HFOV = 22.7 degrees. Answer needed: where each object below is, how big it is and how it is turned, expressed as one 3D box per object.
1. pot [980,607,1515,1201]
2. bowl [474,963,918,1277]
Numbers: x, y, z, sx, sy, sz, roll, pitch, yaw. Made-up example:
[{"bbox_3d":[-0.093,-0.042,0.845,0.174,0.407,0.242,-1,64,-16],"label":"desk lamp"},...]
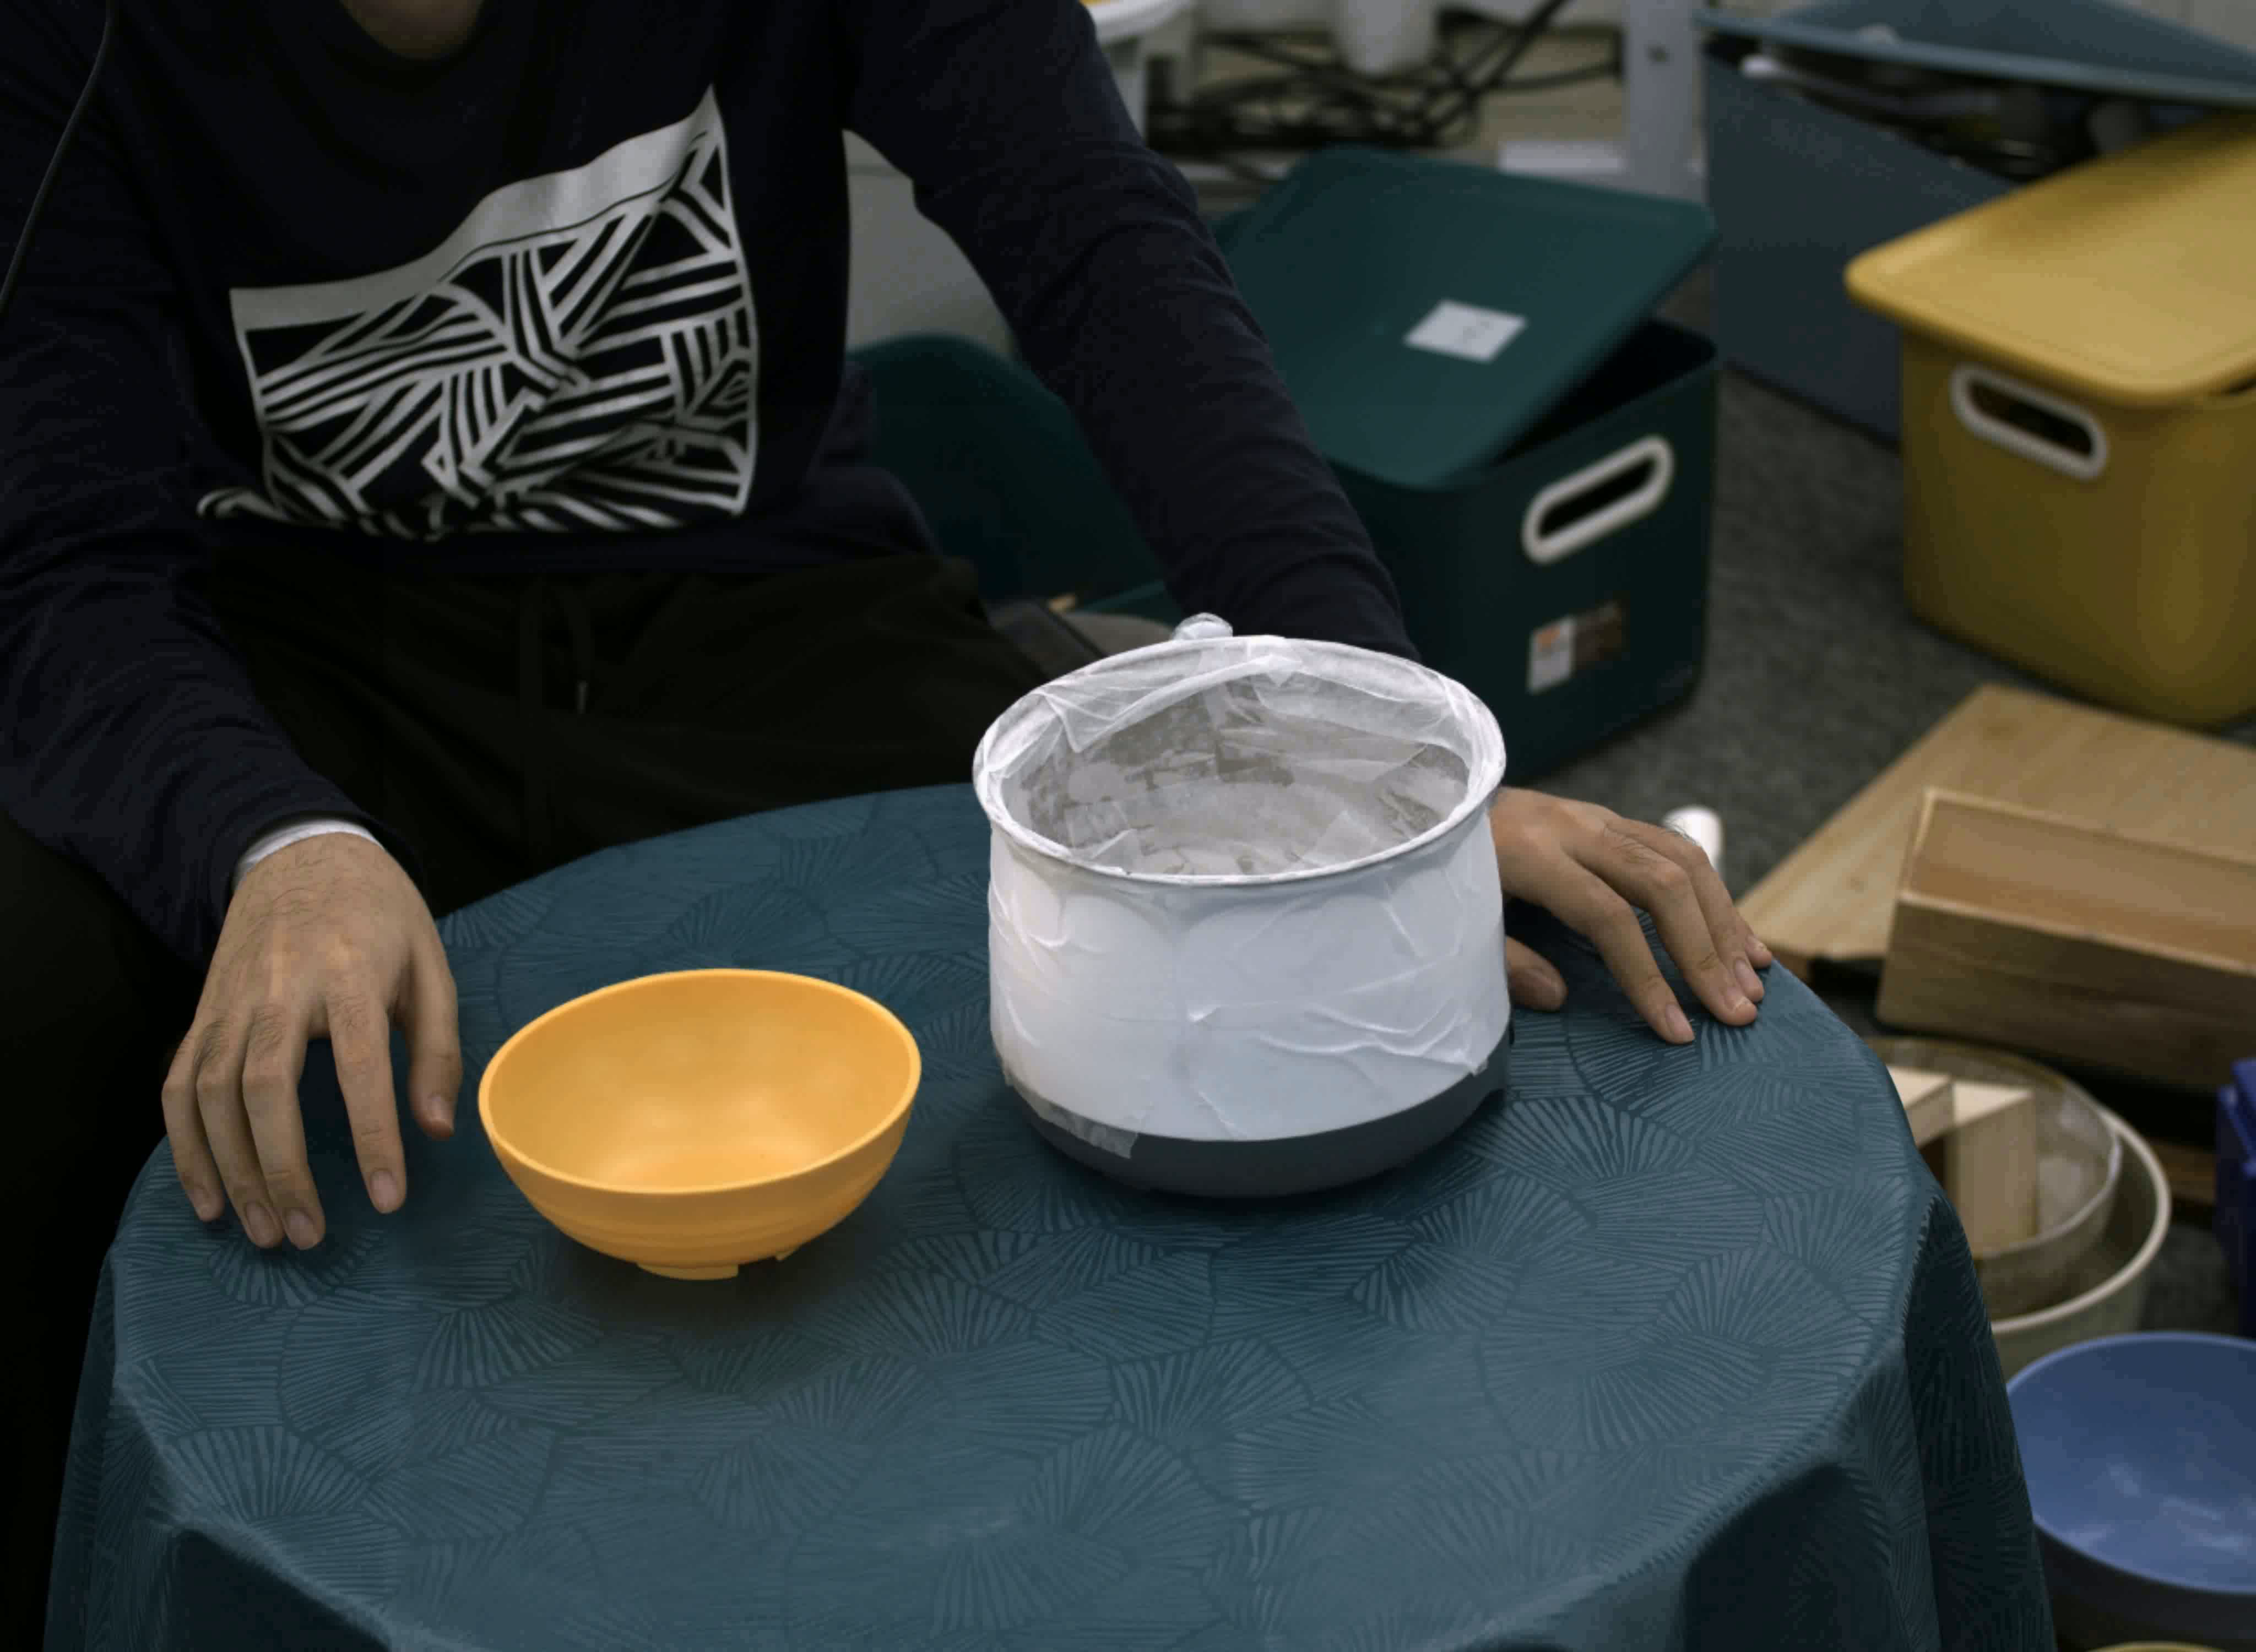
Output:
[{"bbox_3d":[0.036,0.019,1.908,0.178,0.135,0.237,-3,28,-7],"label":"pot"},{"bbox_3d":[-0.140,0.106,1.839,0.144,0.059,0.147,-1,28,1],"label":"bowl"}]
